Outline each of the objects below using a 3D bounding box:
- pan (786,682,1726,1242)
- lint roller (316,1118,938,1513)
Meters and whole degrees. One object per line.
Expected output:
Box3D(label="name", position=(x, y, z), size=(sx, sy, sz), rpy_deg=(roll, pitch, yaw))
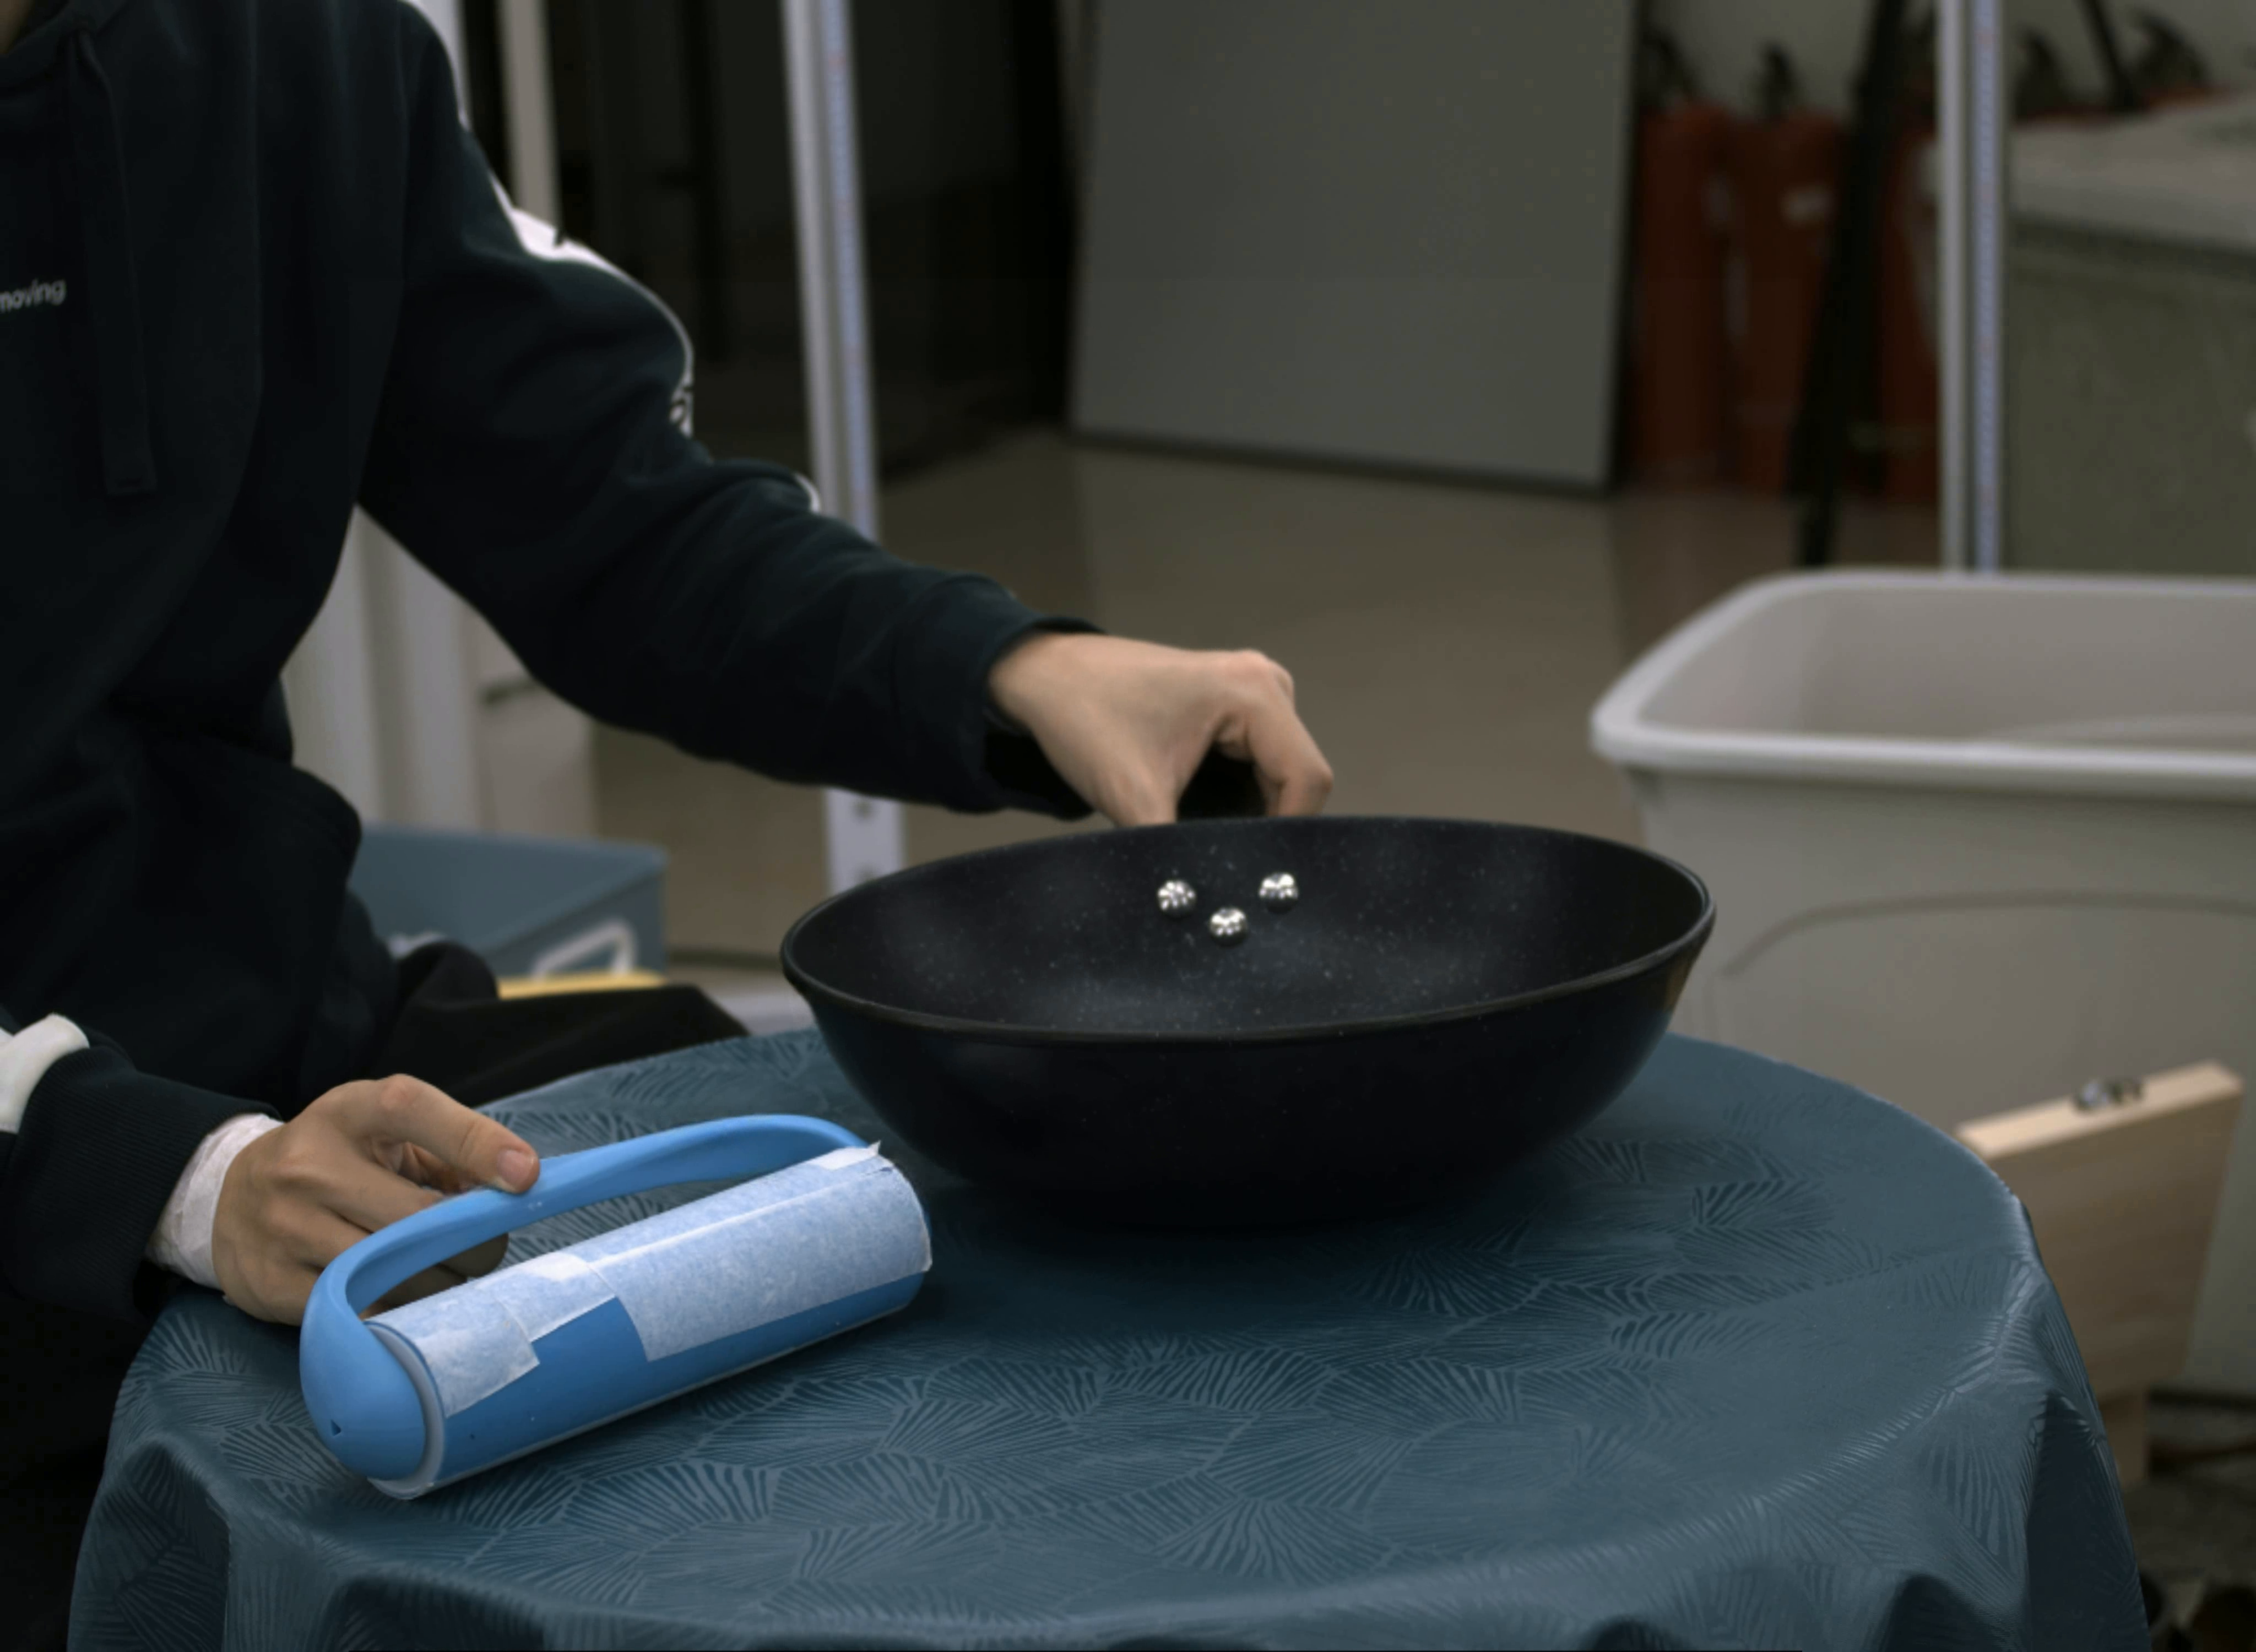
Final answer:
Box3D(label="pan", position=(0.039, 0.046, 1.846), size=(0.306, 0.113, 0.478), rpy_deg=(-3, 11, -2))
Box3D(label="lint roller", position=(-0.186, 0.139, 1.639), size=(0.182, 0.068, 0.224), rpy_deg=(9, 21, 40))
